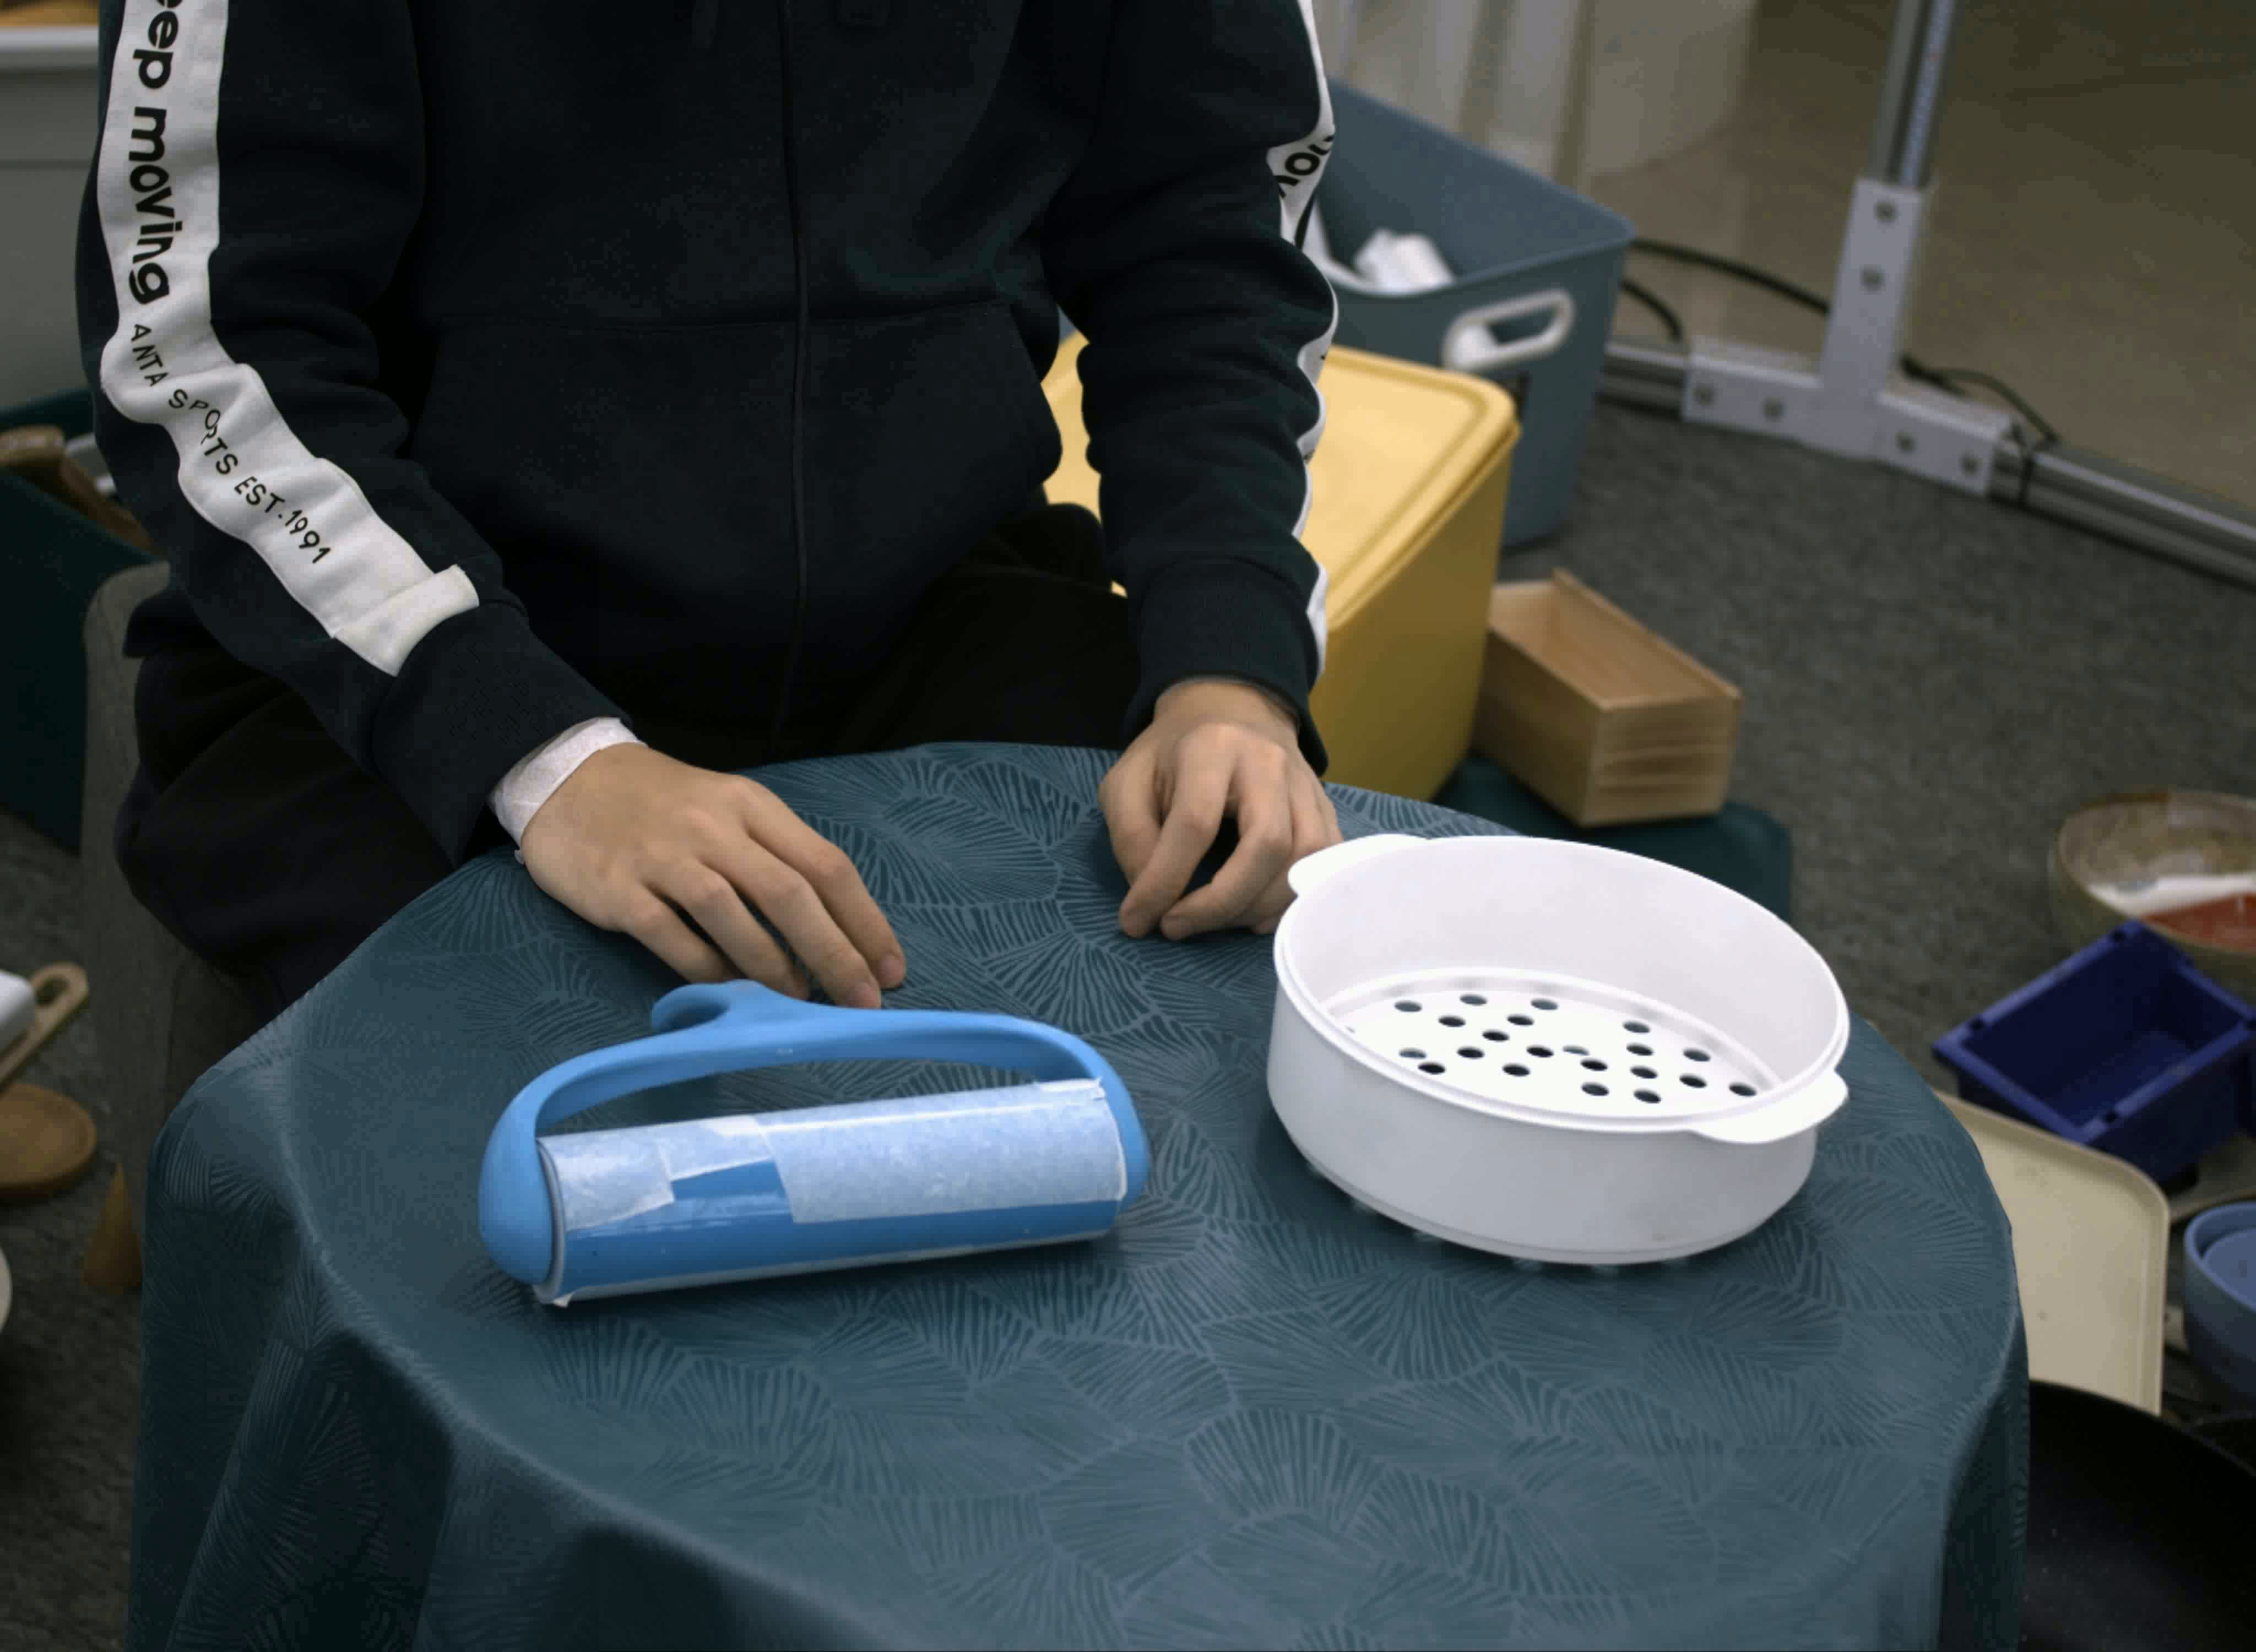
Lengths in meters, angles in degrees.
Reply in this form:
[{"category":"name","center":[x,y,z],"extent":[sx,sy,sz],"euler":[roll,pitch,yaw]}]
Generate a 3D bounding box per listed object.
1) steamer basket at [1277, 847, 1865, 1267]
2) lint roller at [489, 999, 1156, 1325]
[{"category":"steamer basket","center":[0.150,0.080,1.841],"extent":[0.201,0.069,0.232],"euler":[-17,34,-39]},{"category":"lint roller","center":[-0.122,0.093,1.772],"extent":[0.227,0.067,0.182],"euler":[-9,32,-24]}]
